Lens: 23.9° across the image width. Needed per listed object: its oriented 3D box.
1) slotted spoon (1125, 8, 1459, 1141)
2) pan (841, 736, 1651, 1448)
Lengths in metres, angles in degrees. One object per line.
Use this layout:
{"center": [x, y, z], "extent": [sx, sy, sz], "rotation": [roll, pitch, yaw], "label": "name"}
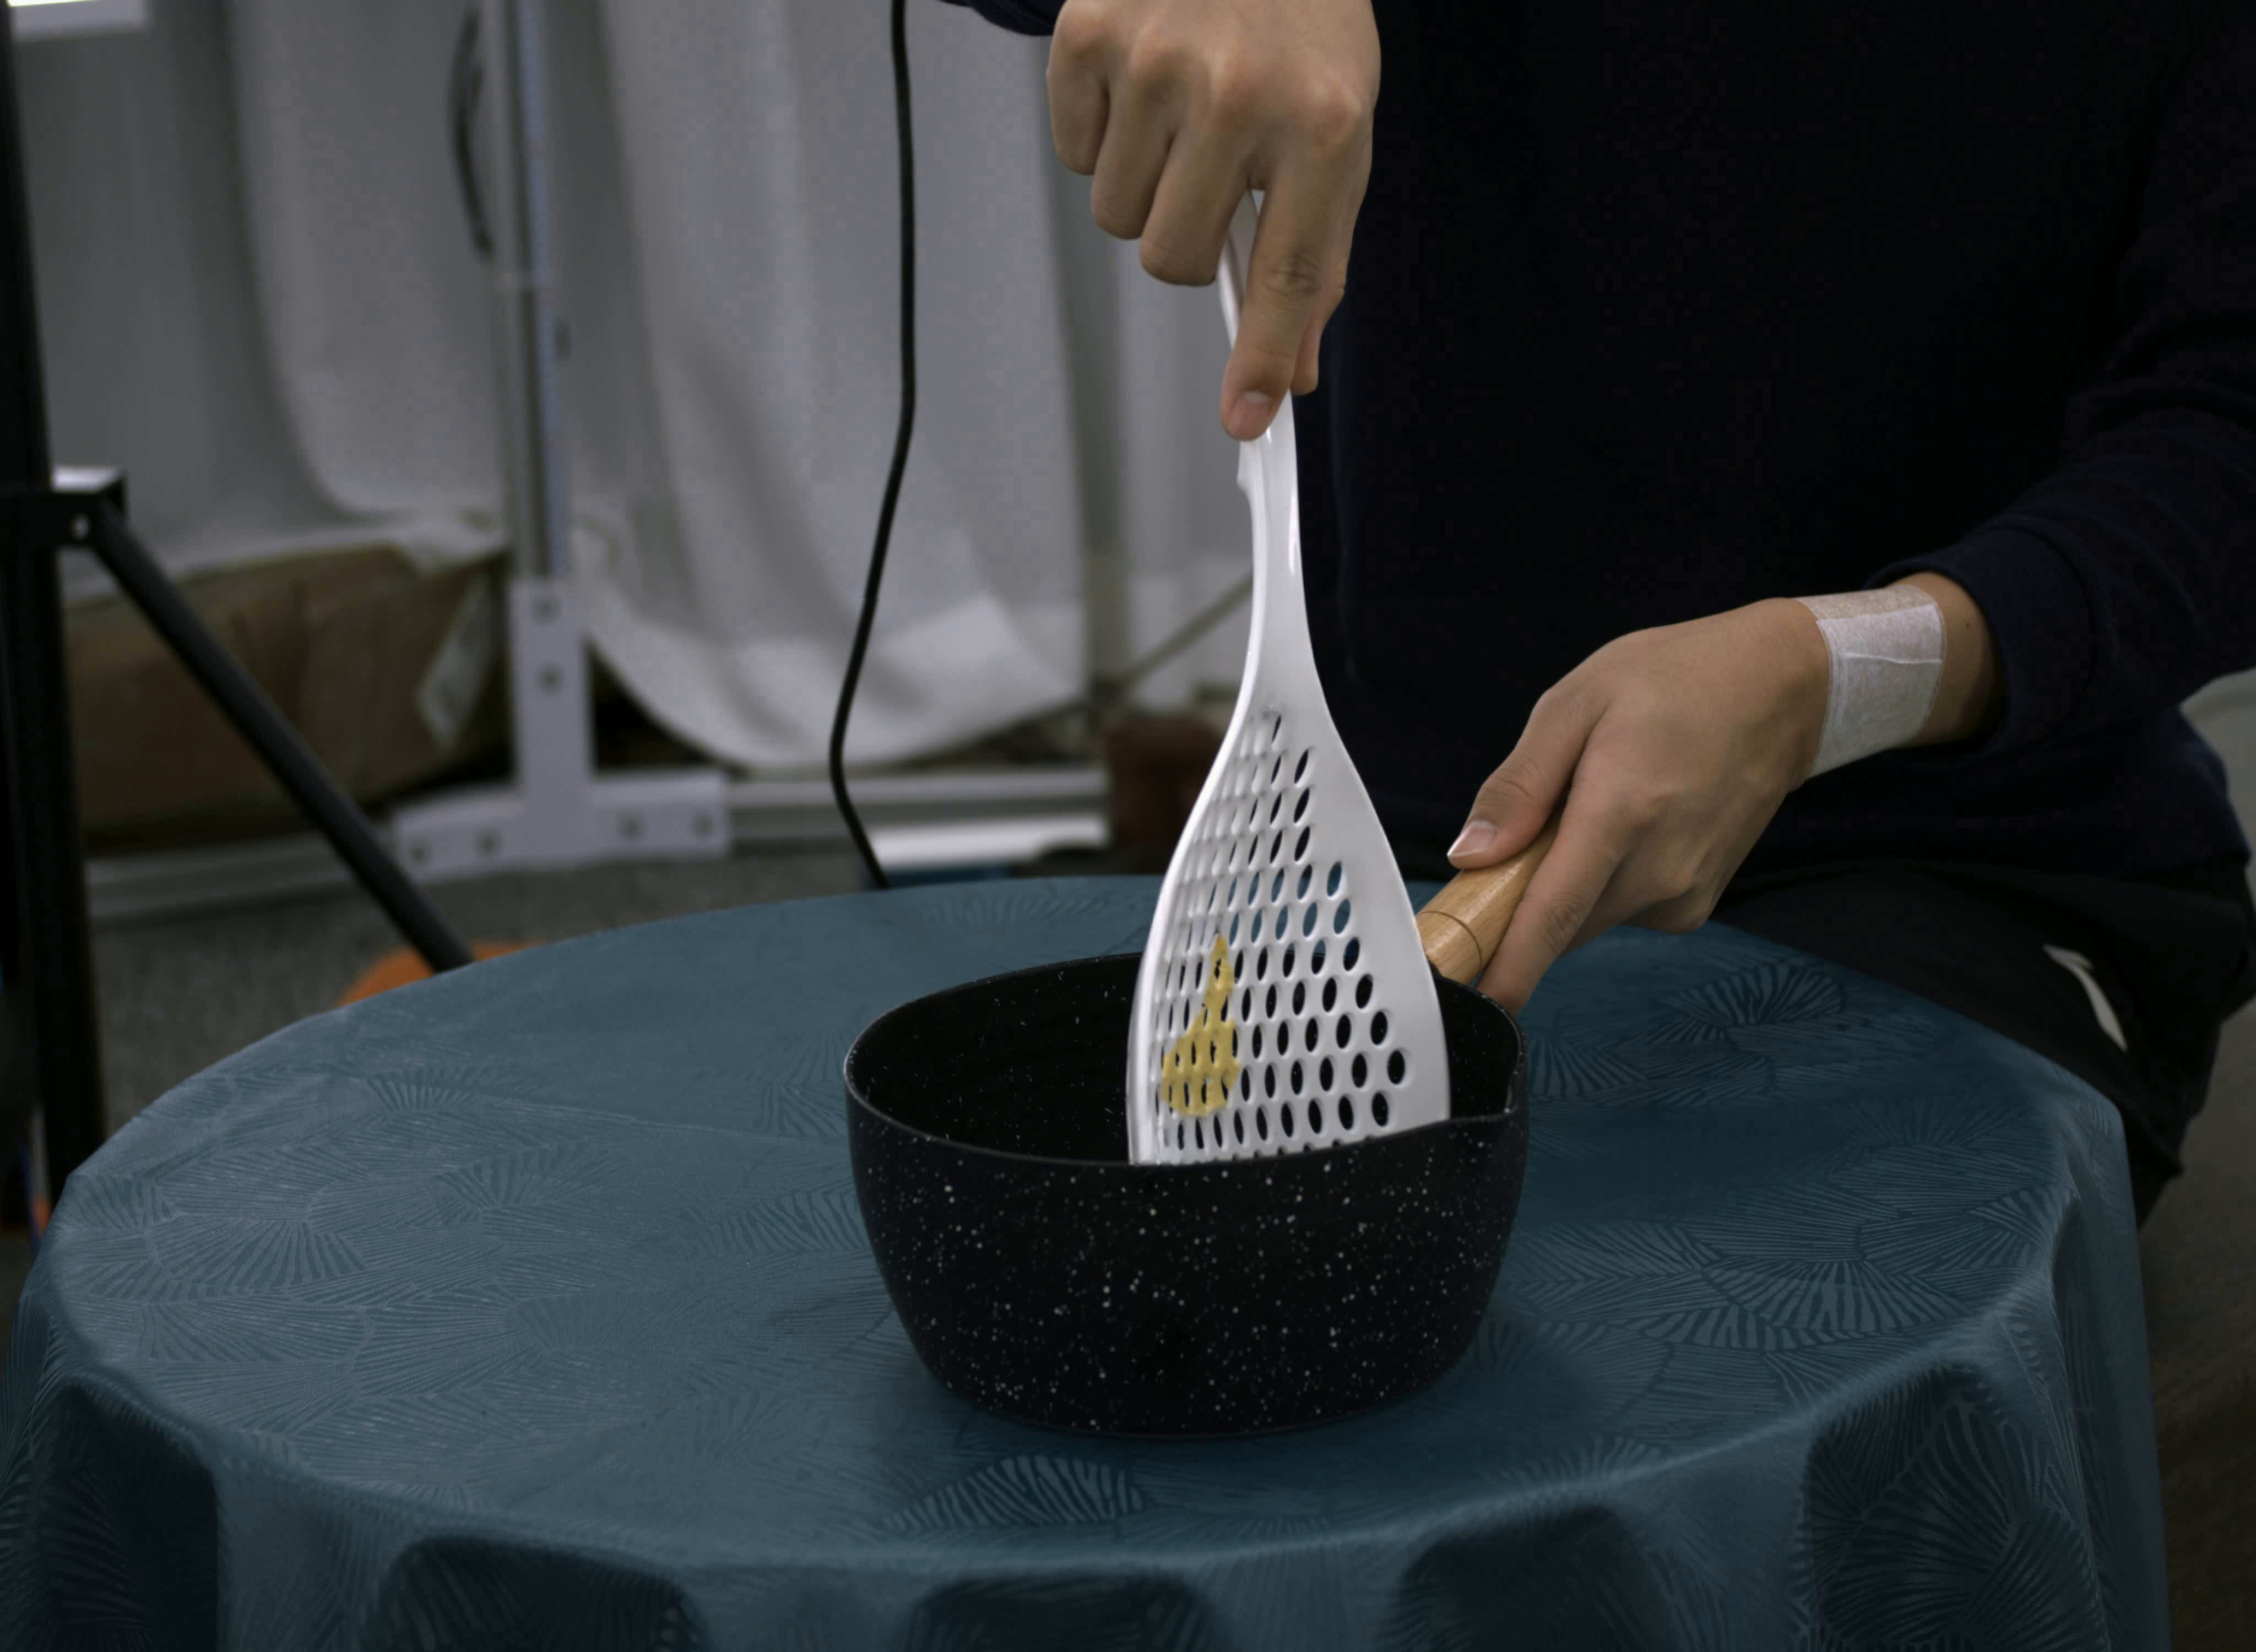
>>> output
{"center": [0.032, -0.039, 1.408], "extent": [0.051, 0.349, 0.133], "rotation": [6, 9, 39], "label": "slotted spoon"}
{"center": [0.058, 0.069, 1.488], "extent": [0.211, 0.108, 0.336], "rotation": [6, 19, 32], "label": "pan"}
